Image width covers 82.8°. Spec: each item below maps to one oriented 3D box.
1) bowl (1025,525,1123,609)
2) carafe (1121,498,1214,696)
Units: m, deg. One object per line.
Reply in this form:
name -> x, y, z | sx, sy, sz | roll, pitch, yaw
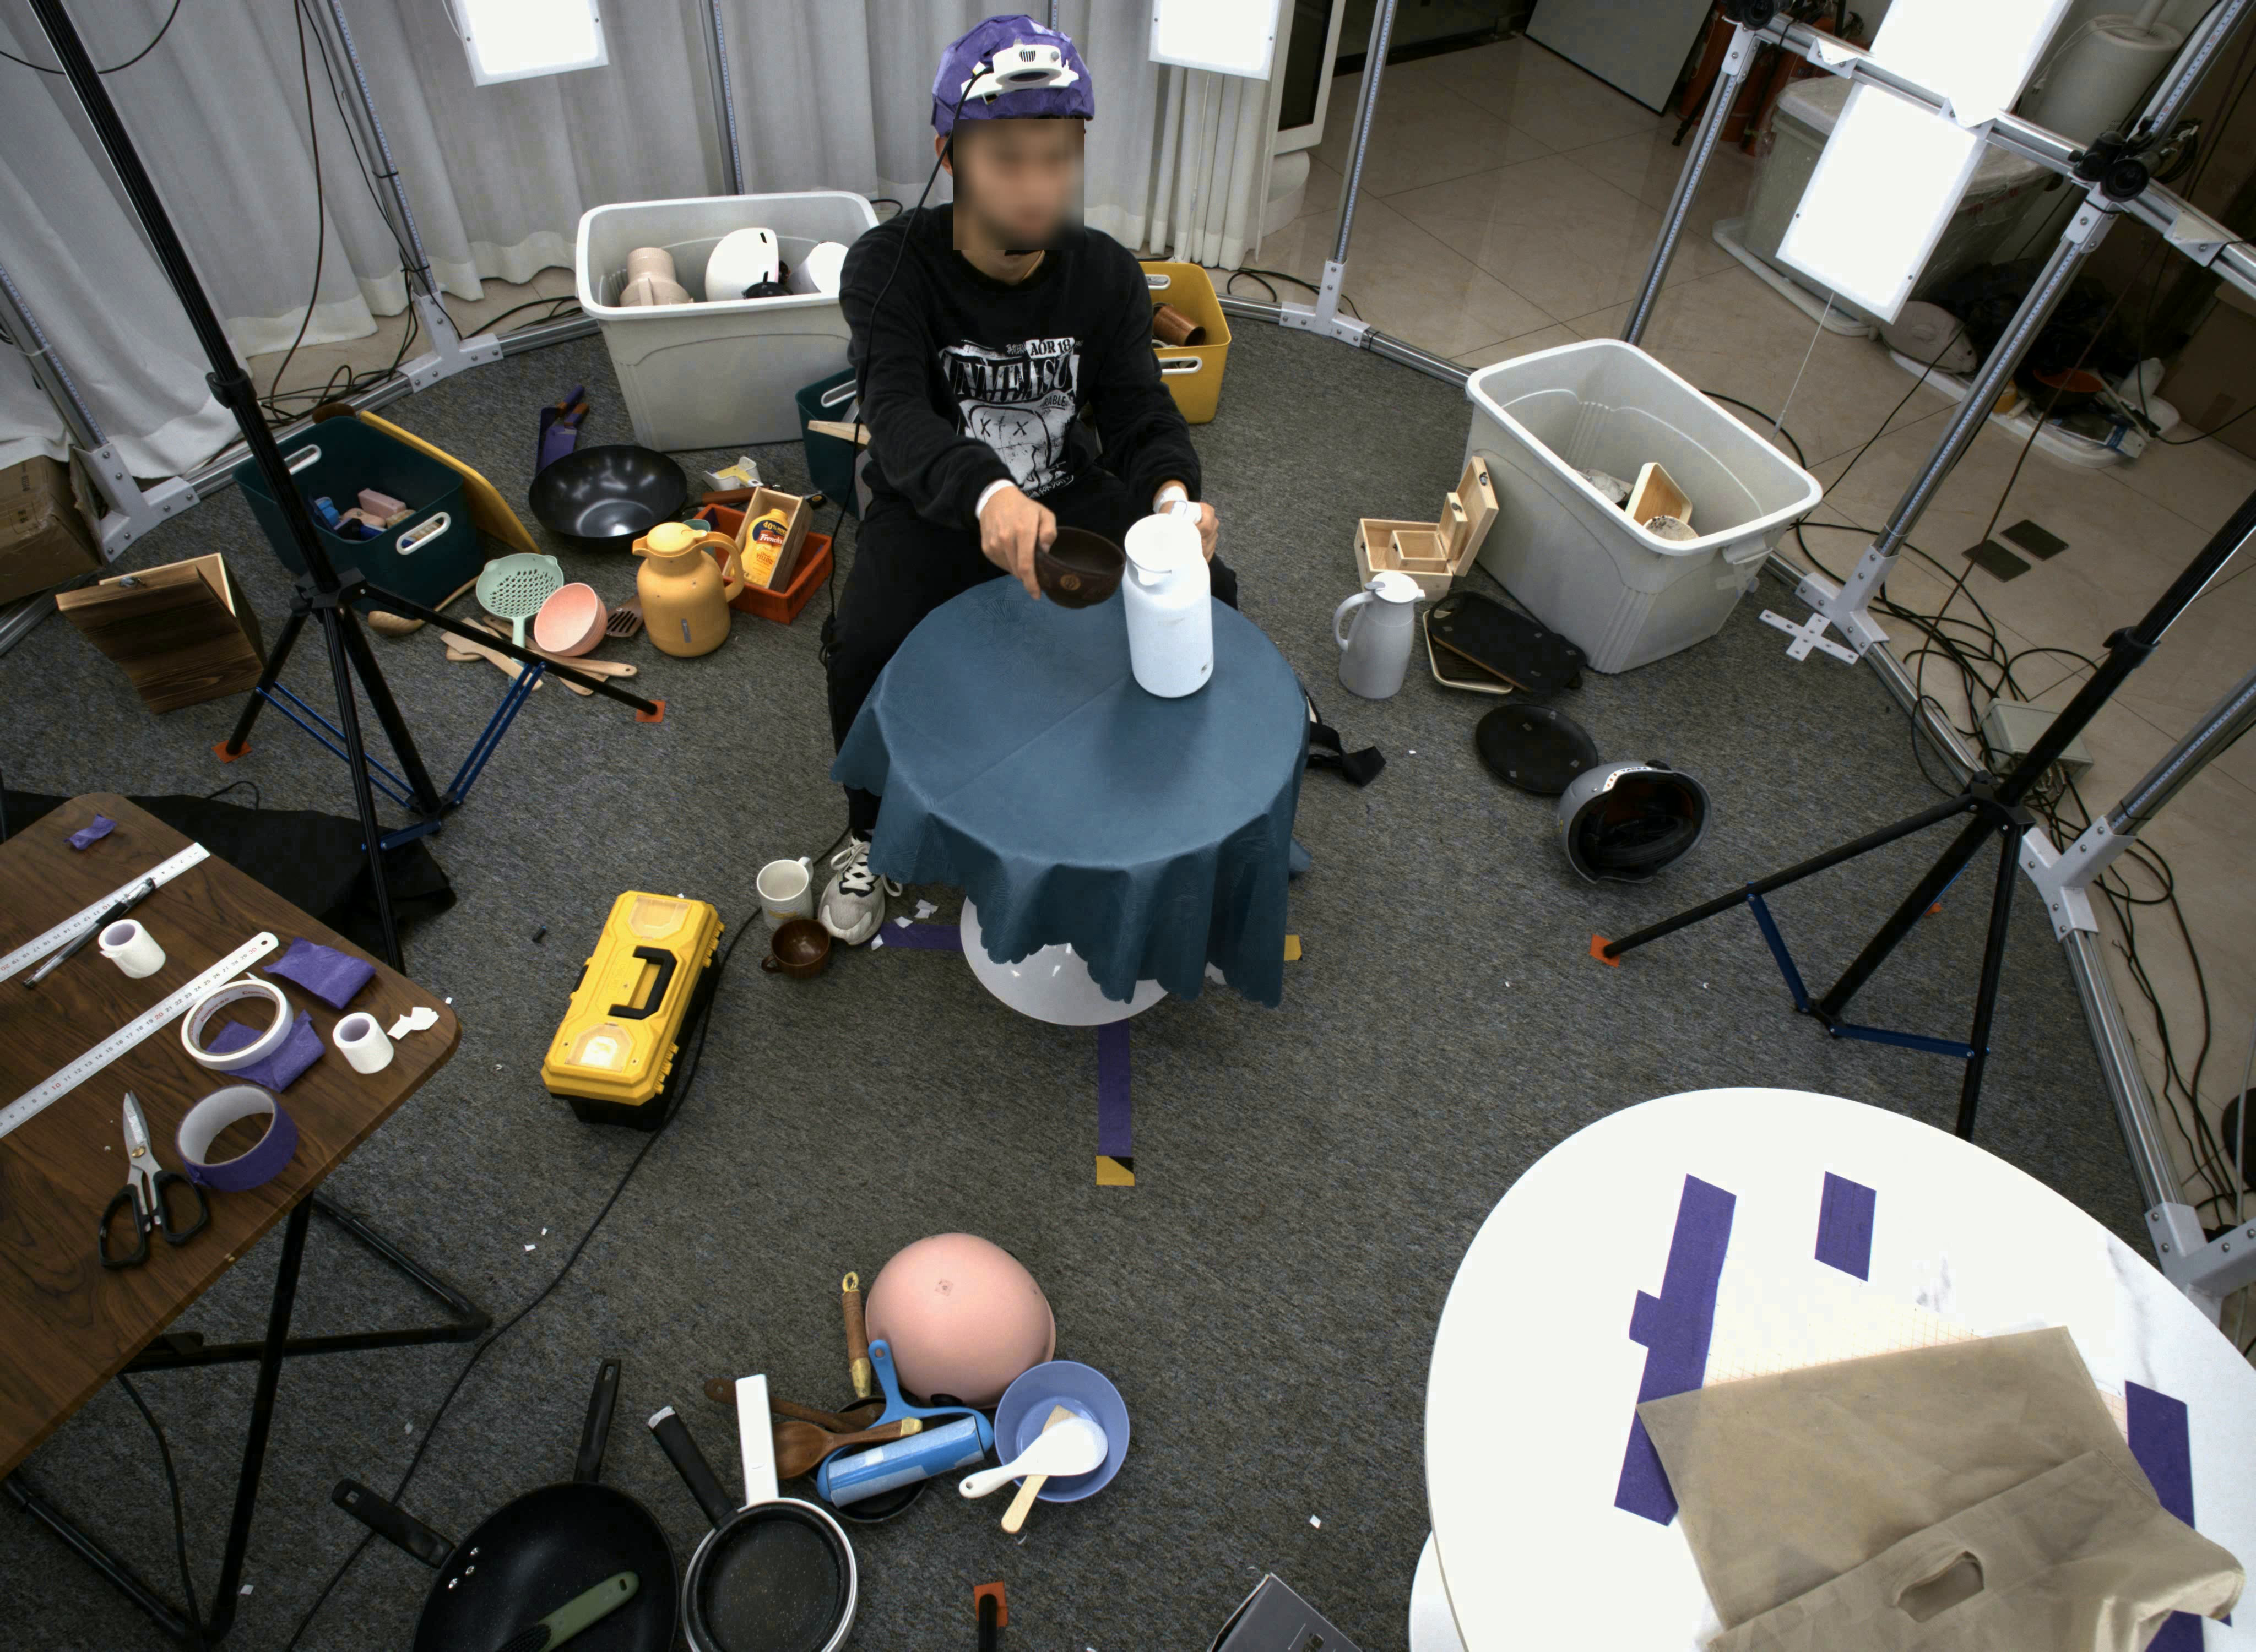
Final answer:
bowl -> -0.070, -0.311, 1.579 | 0.117, 0.068, 0.121 | 11, 35, -8
carafe -> 0.060, -0.312, 1.758 | 0.124, 0.262, 0.176 | 14, 61, 16
